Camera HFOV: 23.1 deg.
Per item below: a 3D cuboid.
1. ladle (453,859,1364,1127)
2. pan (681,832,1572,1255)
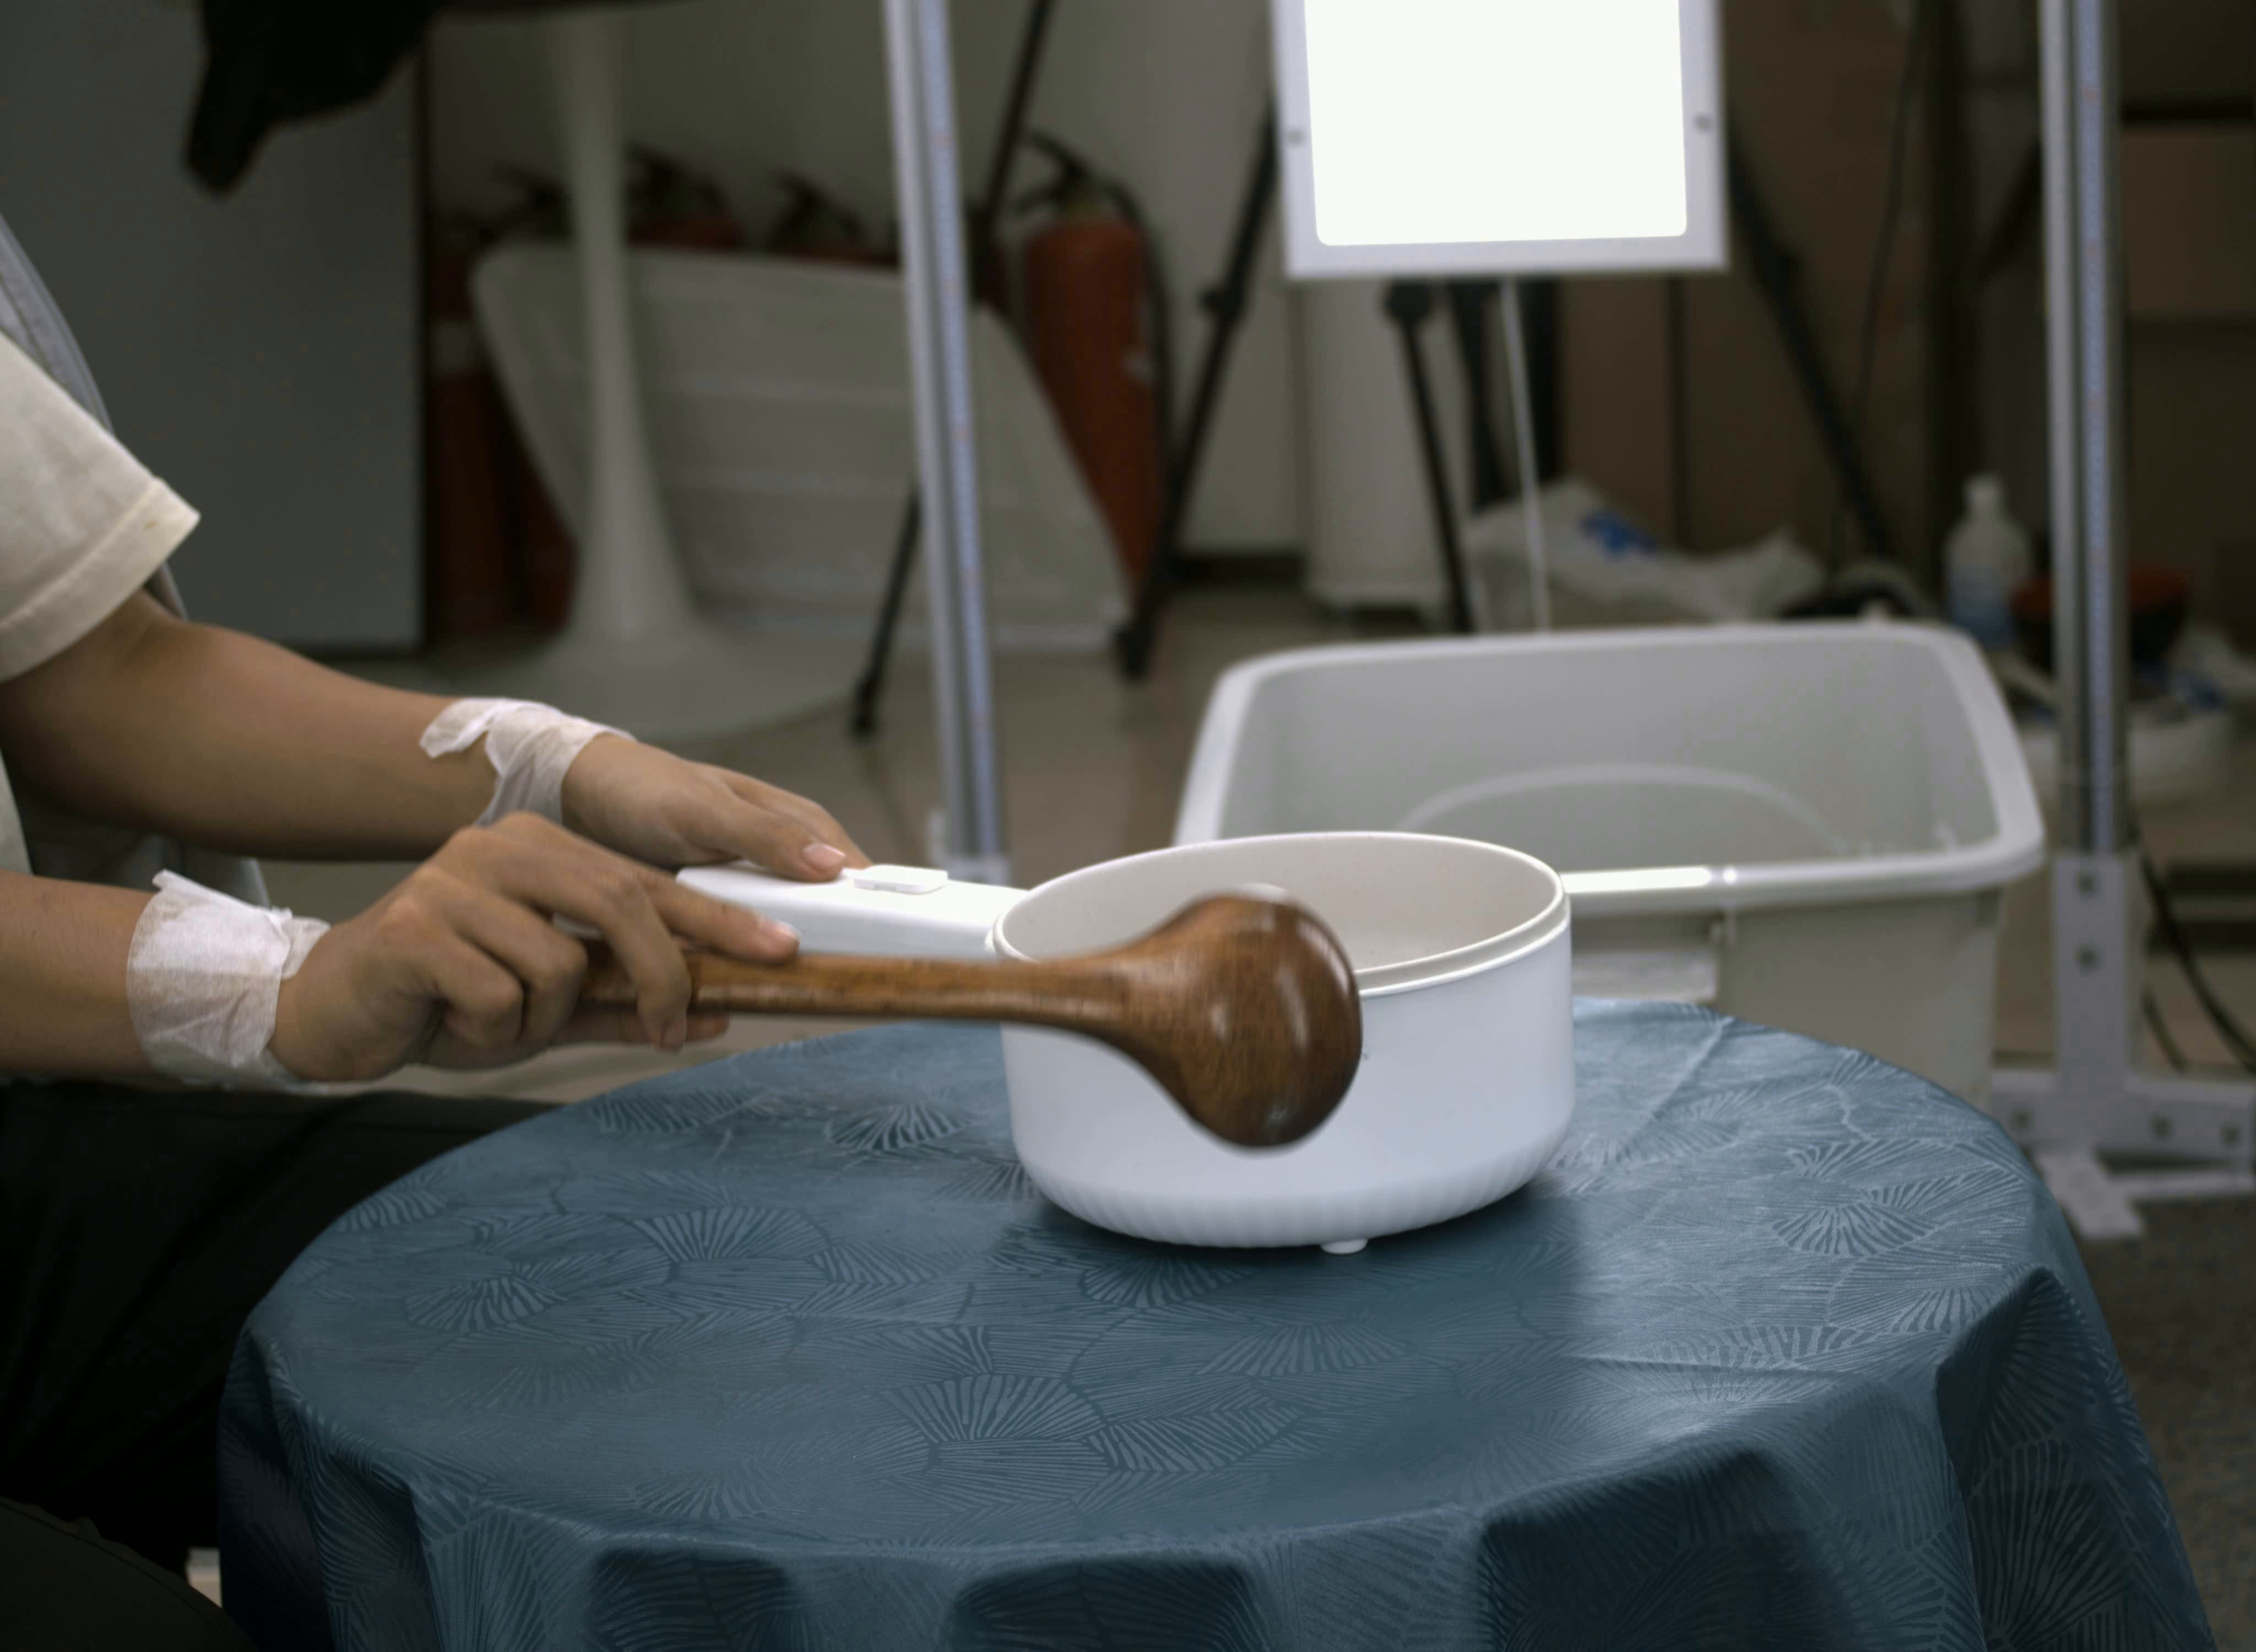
[{"bbox_3d":[-0.065,0.049,1.685,0.276,0.082,0.076,0,-18,11],"label":"ladle"},{"bbox_3d":[-0.008,0.070,1.922,0.362,0.102,0.196,5,17,37],"label":"pan"}]
